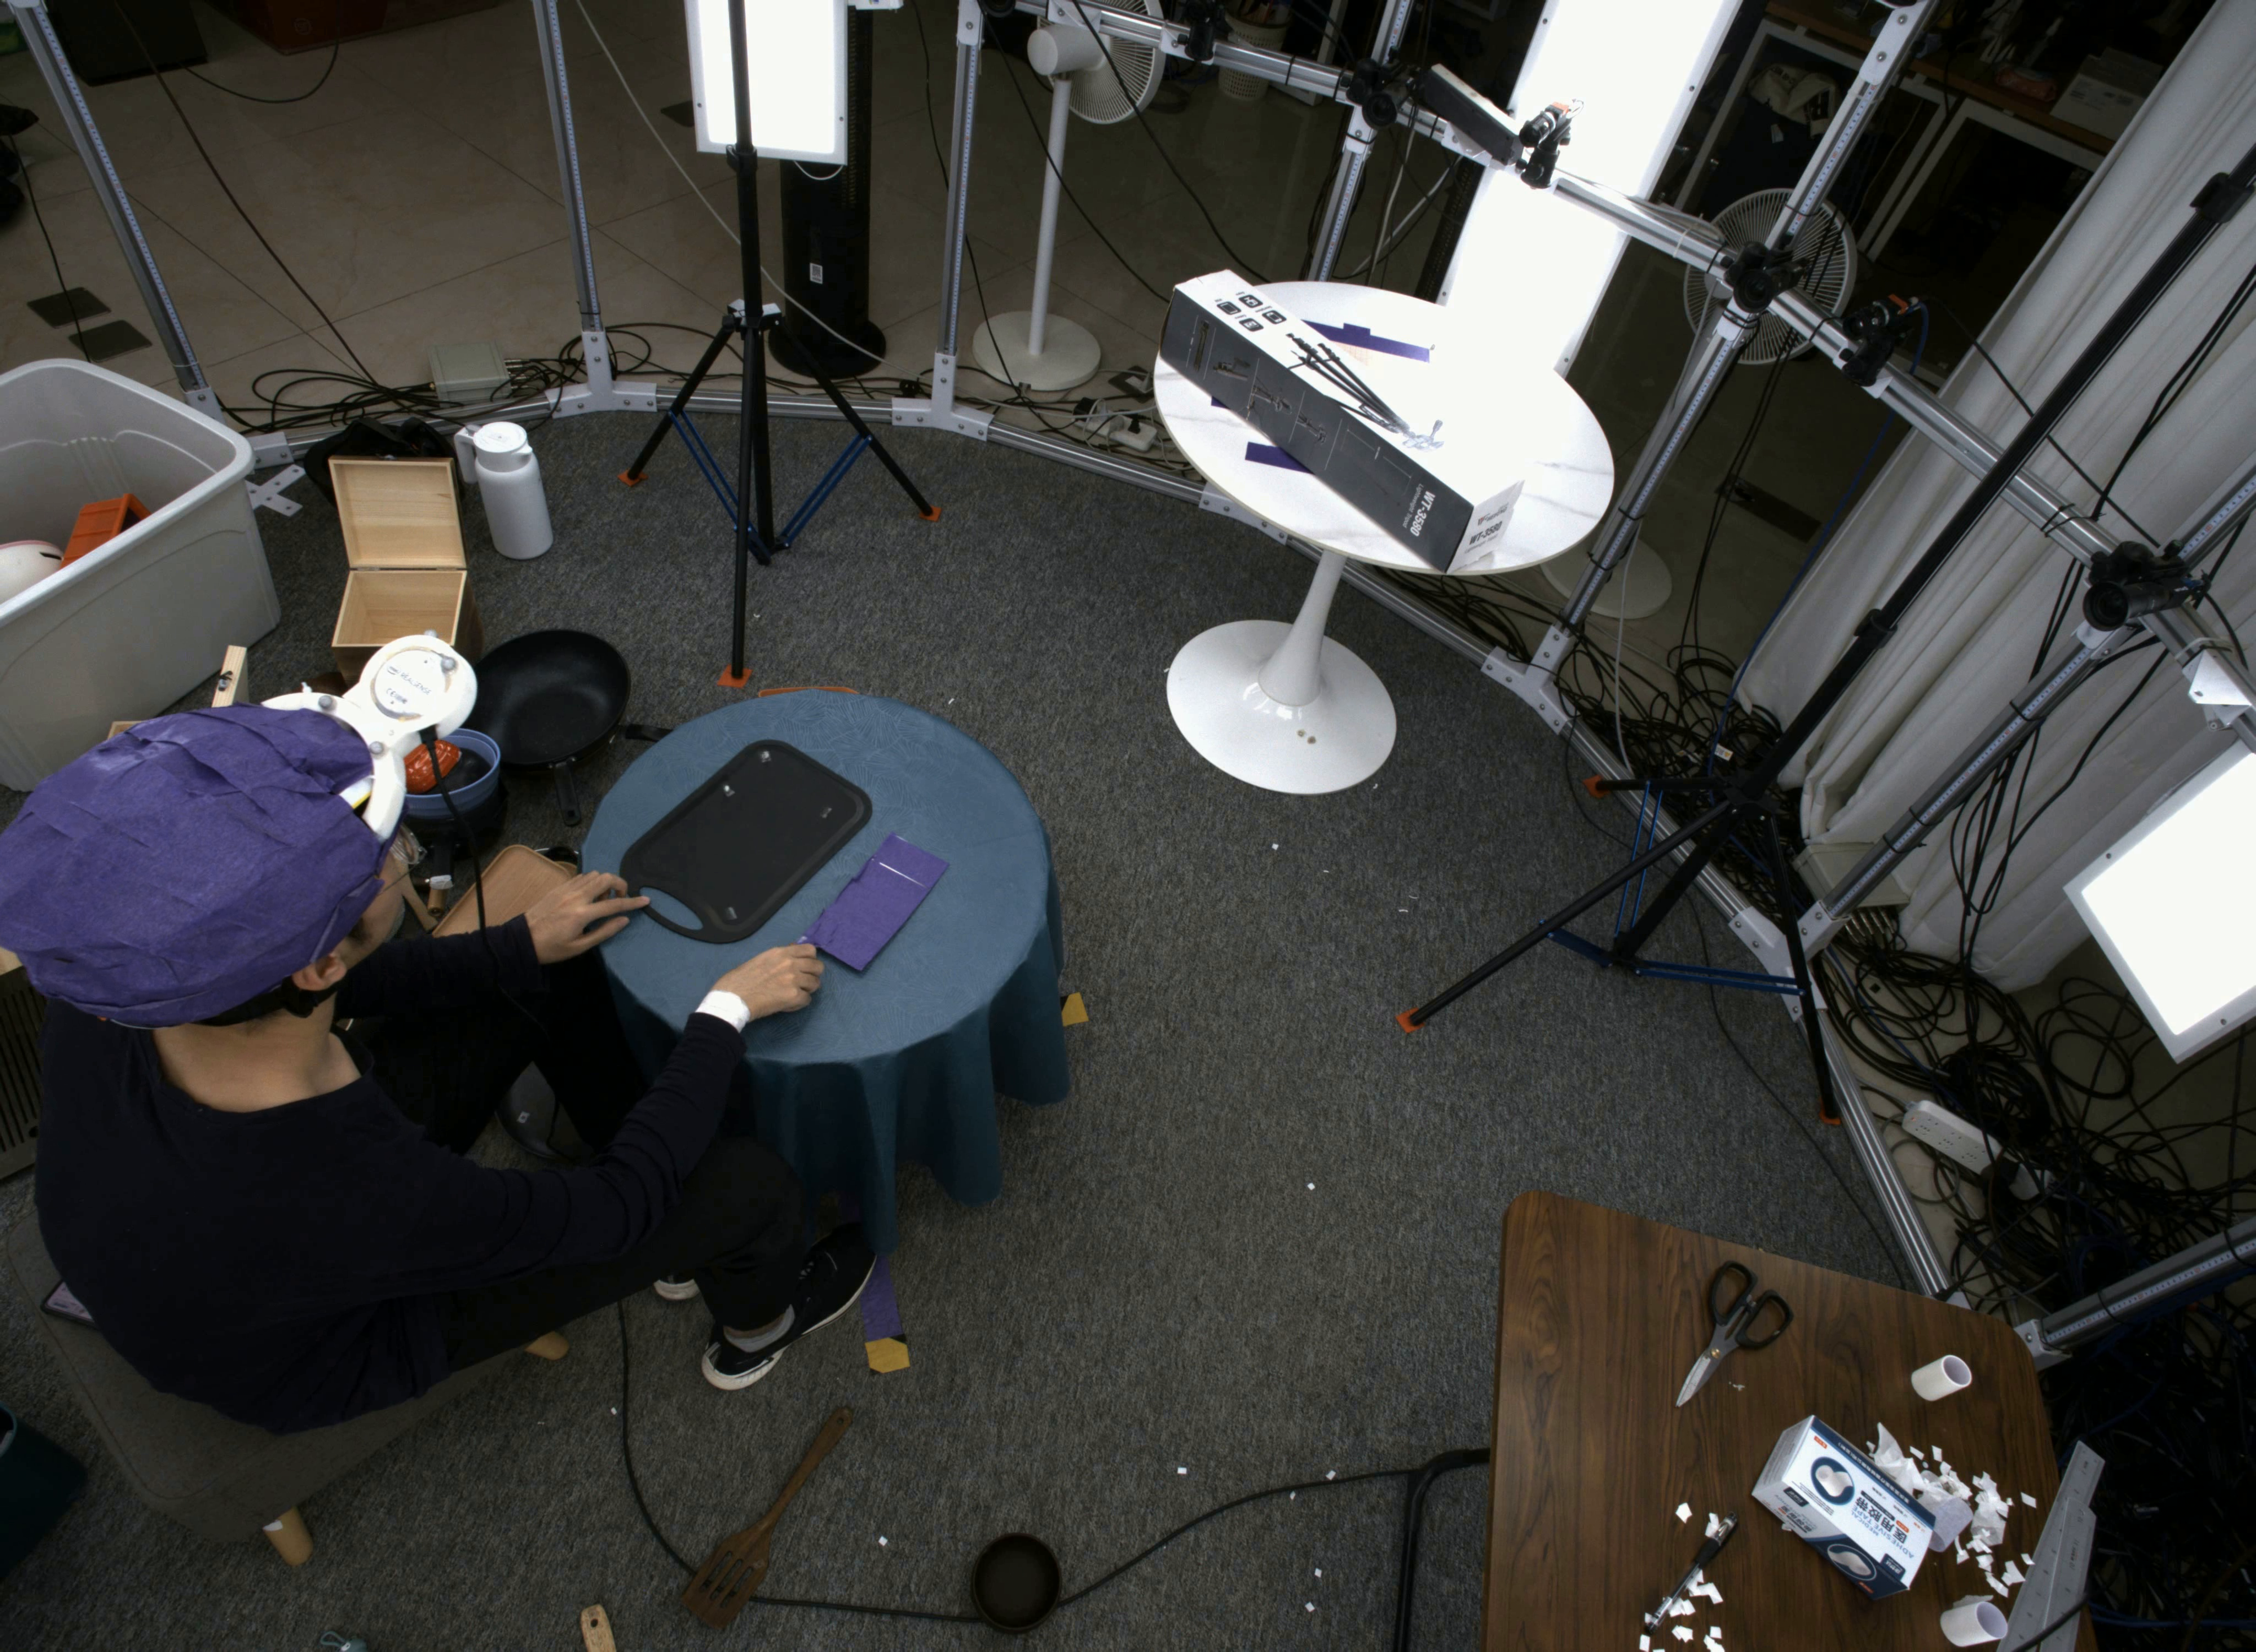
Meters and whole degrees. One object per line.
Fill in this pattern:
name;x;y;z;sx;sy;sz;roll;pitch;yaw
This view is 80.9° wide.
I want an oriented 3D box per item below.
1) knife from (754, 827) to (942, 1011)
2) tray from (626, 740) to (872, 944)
knife;-0.346;0.122;1.648;0.102;0.033;0.313;28;52;7
tray;-0.500;0.016;1.699;0.207;0.010;0.324;32;53;10
